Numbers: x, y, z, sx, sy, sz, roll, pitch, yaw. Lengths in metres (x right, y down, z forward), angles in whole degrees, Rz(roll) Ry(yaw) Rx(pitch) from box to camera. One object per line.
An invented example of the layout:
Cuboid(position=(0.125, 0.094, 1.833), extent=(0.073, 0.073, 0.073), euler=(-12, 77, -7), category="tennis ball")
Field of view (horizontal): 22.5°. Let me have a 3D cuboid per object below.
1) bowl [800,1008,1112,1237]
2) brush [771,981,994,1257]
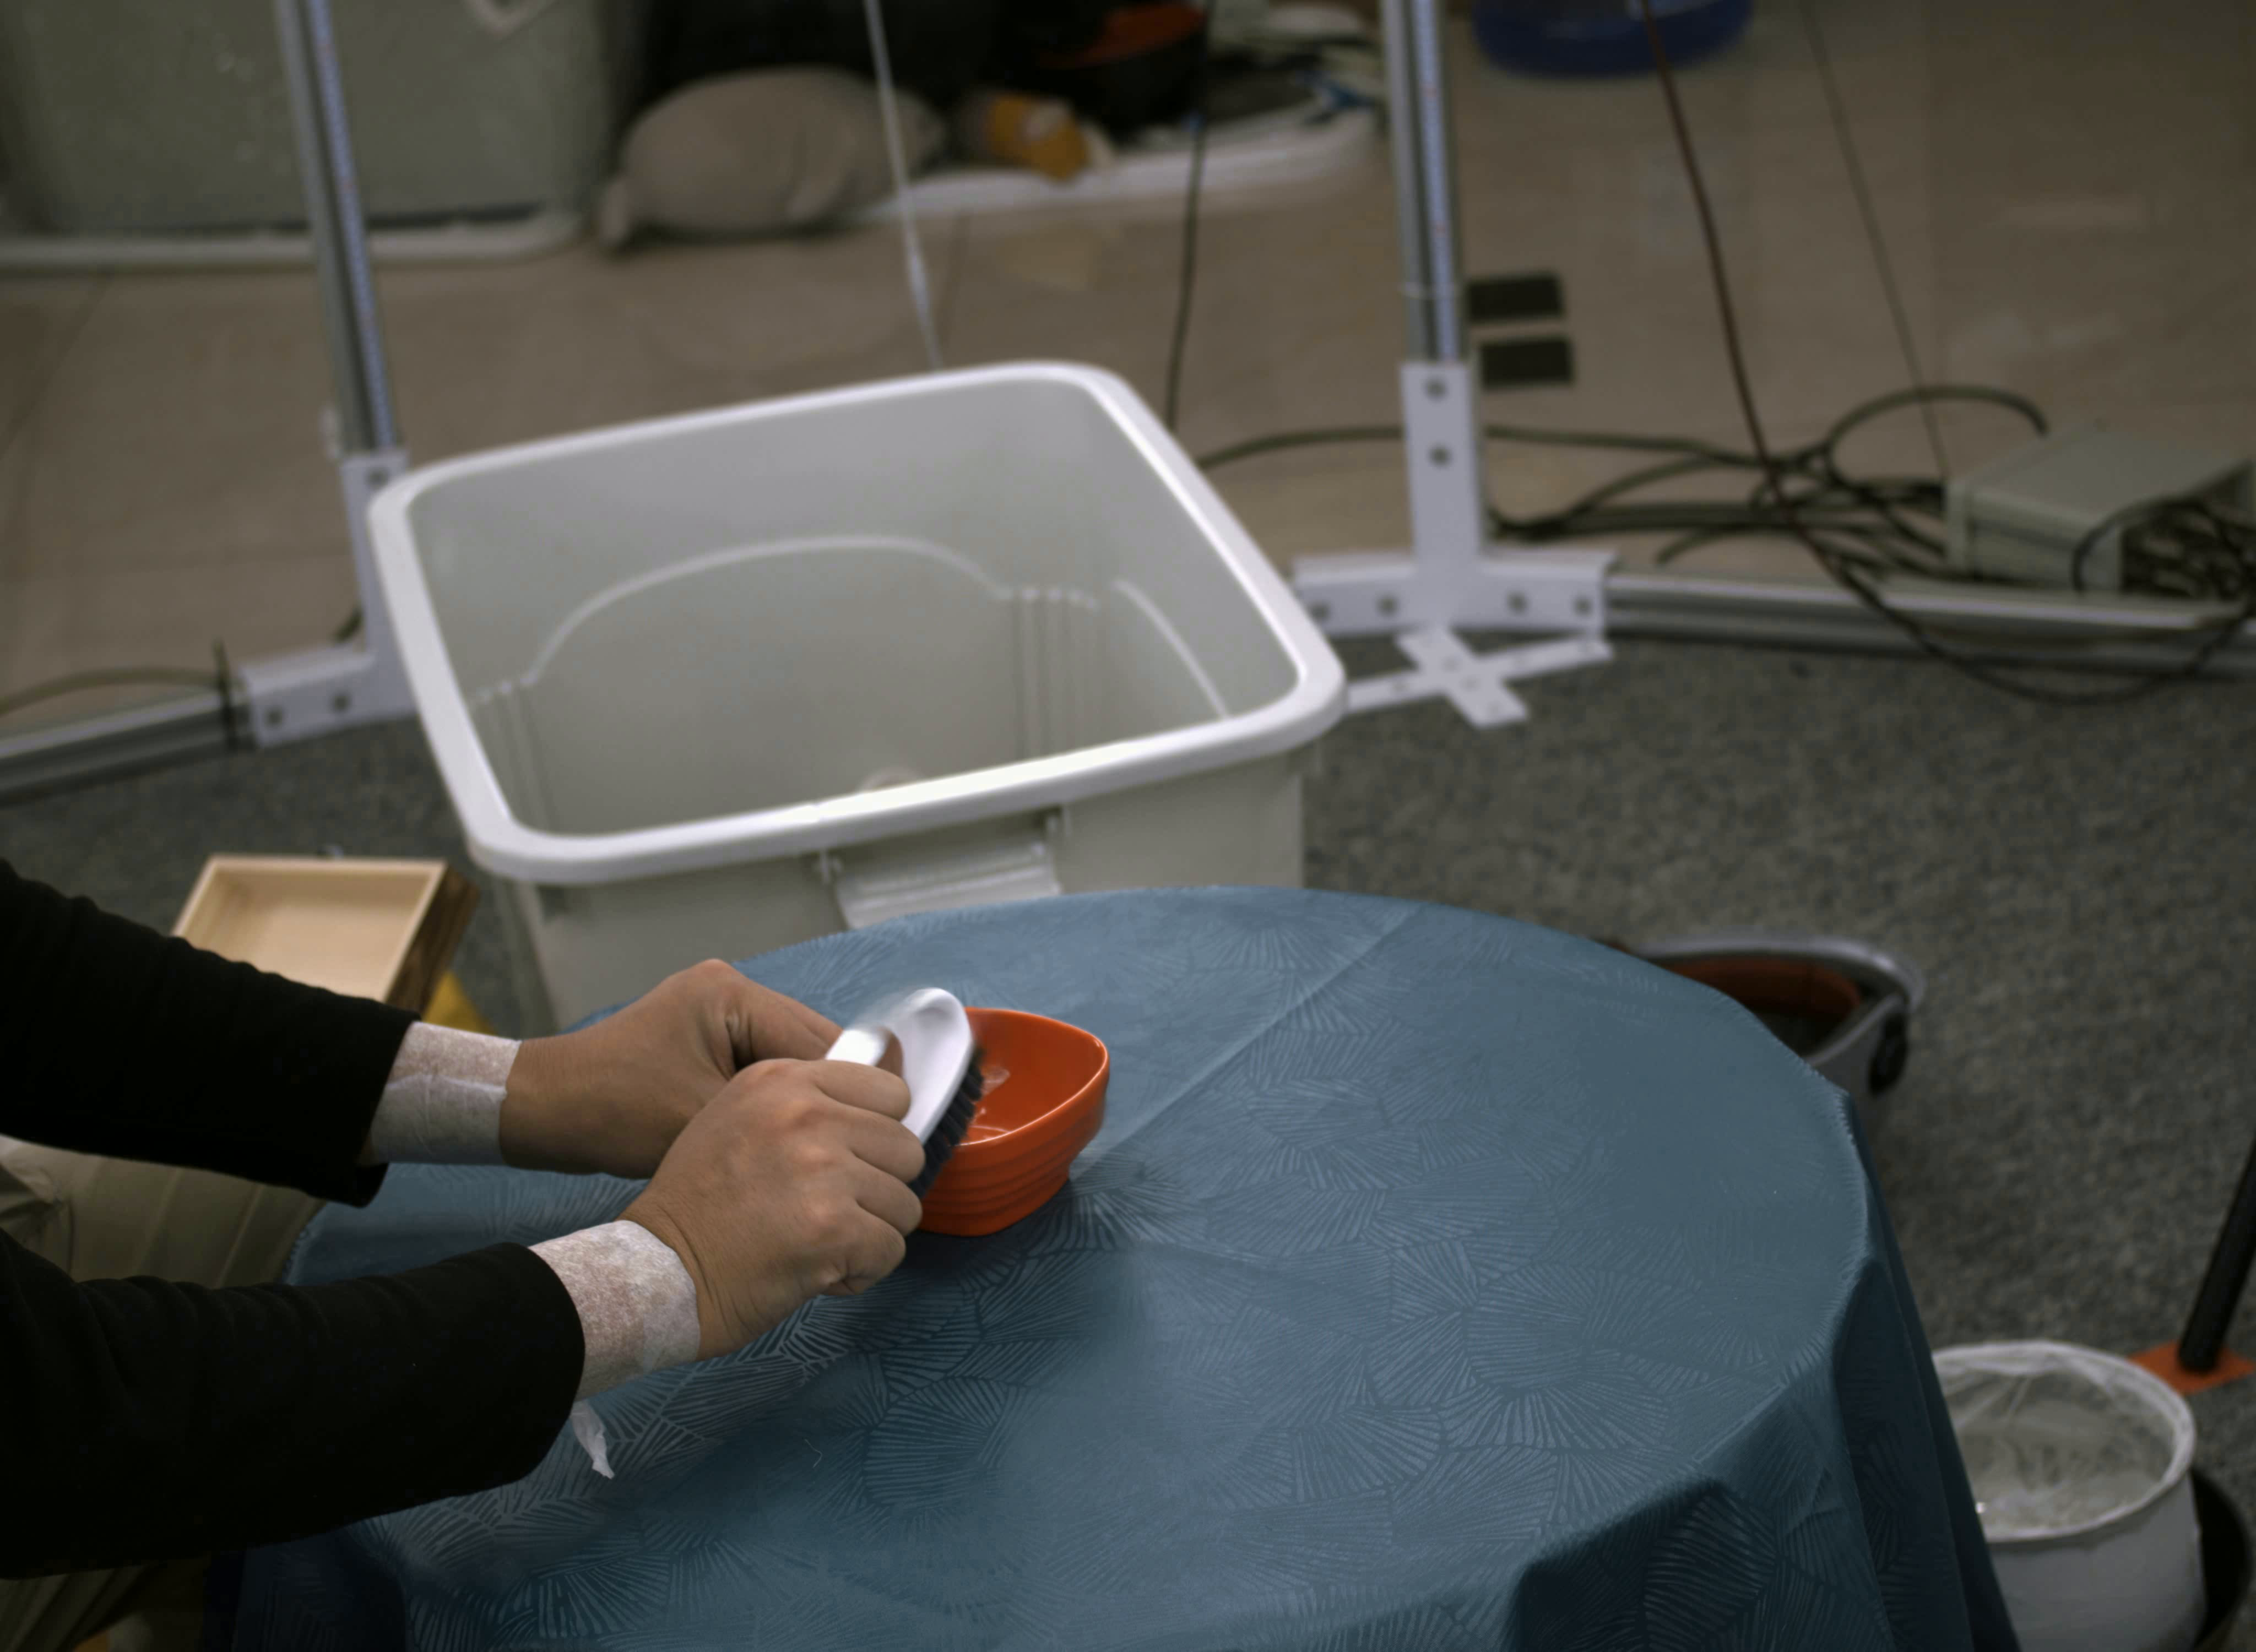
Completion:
Cuboid(position=(-0.063, 0.116, 2.151), extent=(0.119, 0.052, 0.117), euler=(-4, 24, 2), category="bowl")
Cuboid(position=(-0.092, 0.100, 2.048), extent=(0.050, 0.073, 0.098), euler=(30, 68, 21), category="brush")
